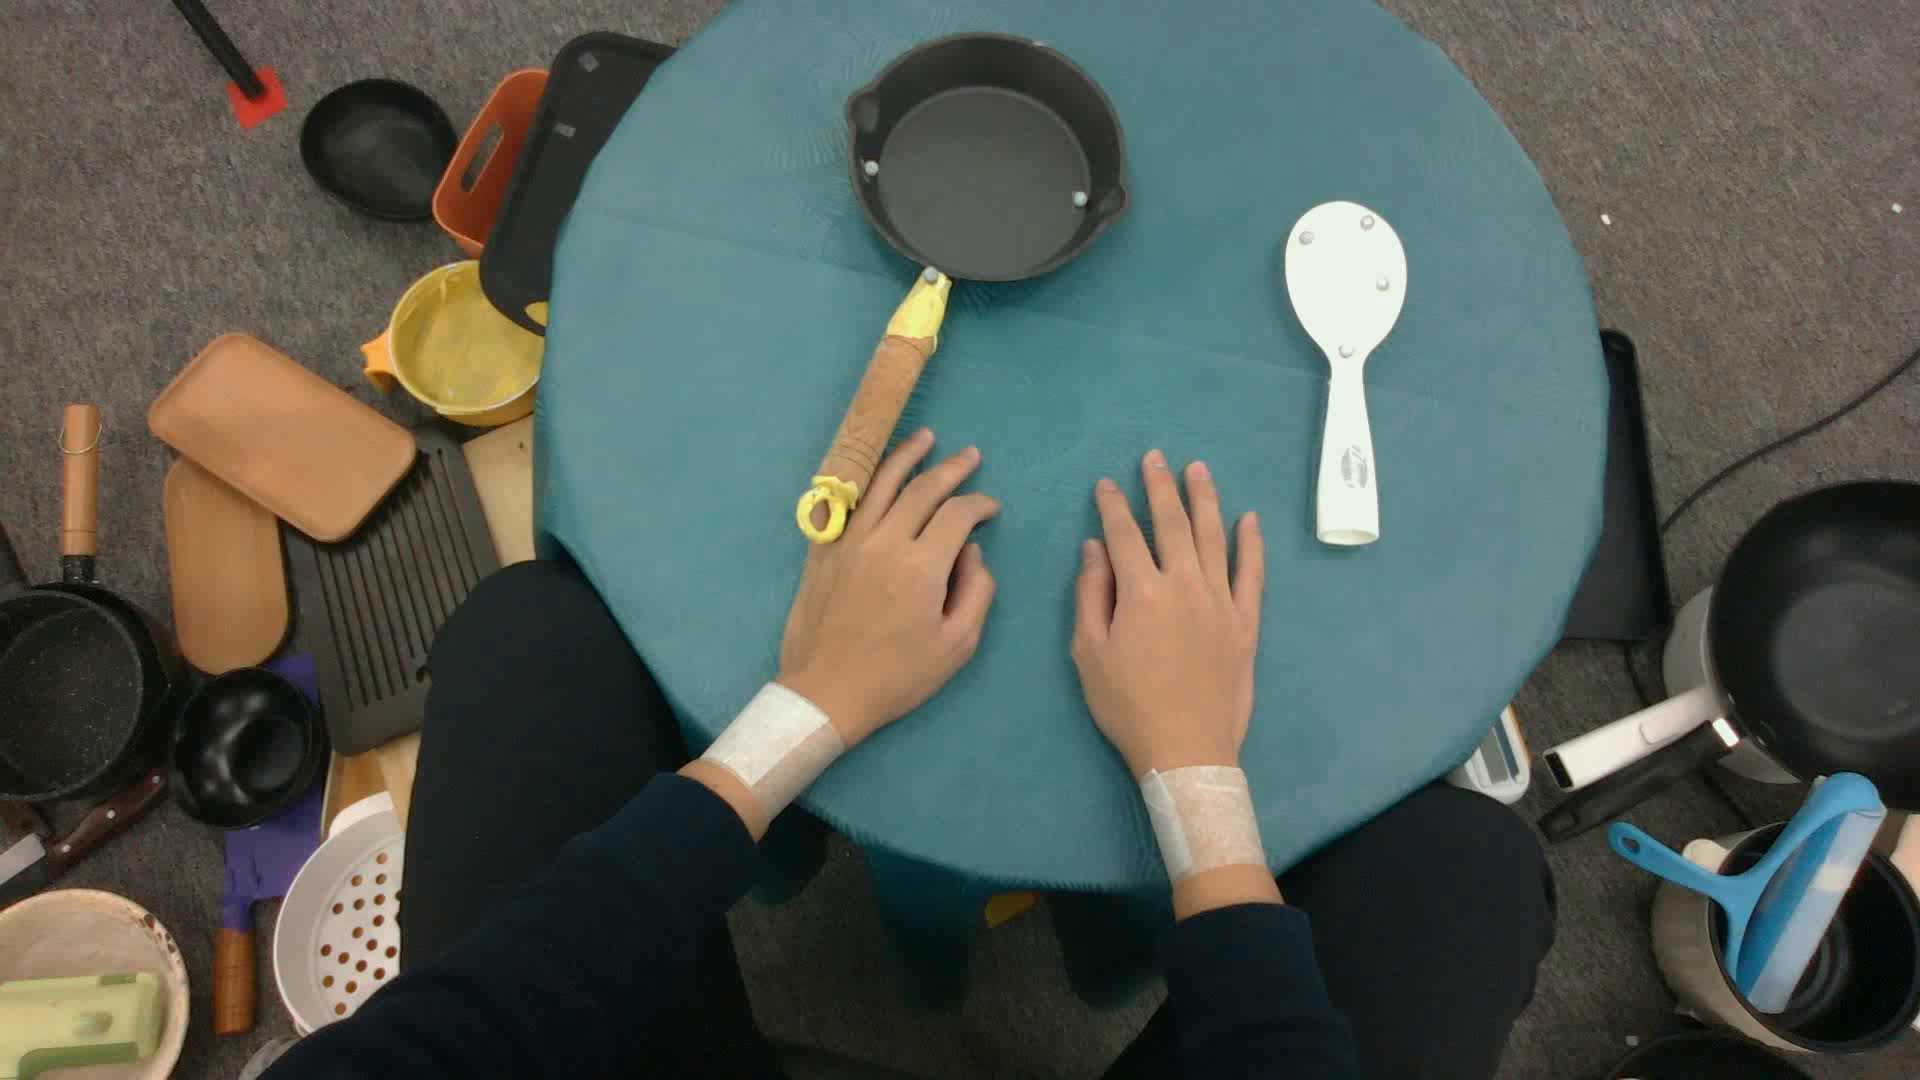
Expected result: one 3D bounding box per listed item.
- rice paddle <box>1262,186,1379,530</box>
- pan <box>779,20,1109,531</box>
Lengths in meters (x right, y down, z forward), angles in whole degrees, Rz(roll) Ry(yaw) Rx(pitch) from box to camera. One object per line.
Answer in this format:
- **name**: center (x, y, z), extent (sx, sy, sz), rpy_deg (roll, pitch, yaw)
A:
- **rice paddle**: center (0.203, -0.107, 0.767), extent (0.069, 0.029, 0.206), rpy_deg (3, 74, -5)
- **pan**: center (-0.028, -0.147, 0.752), extent (0.169, 0.049, 0.325), rpy_deg (22, 72, 3)
